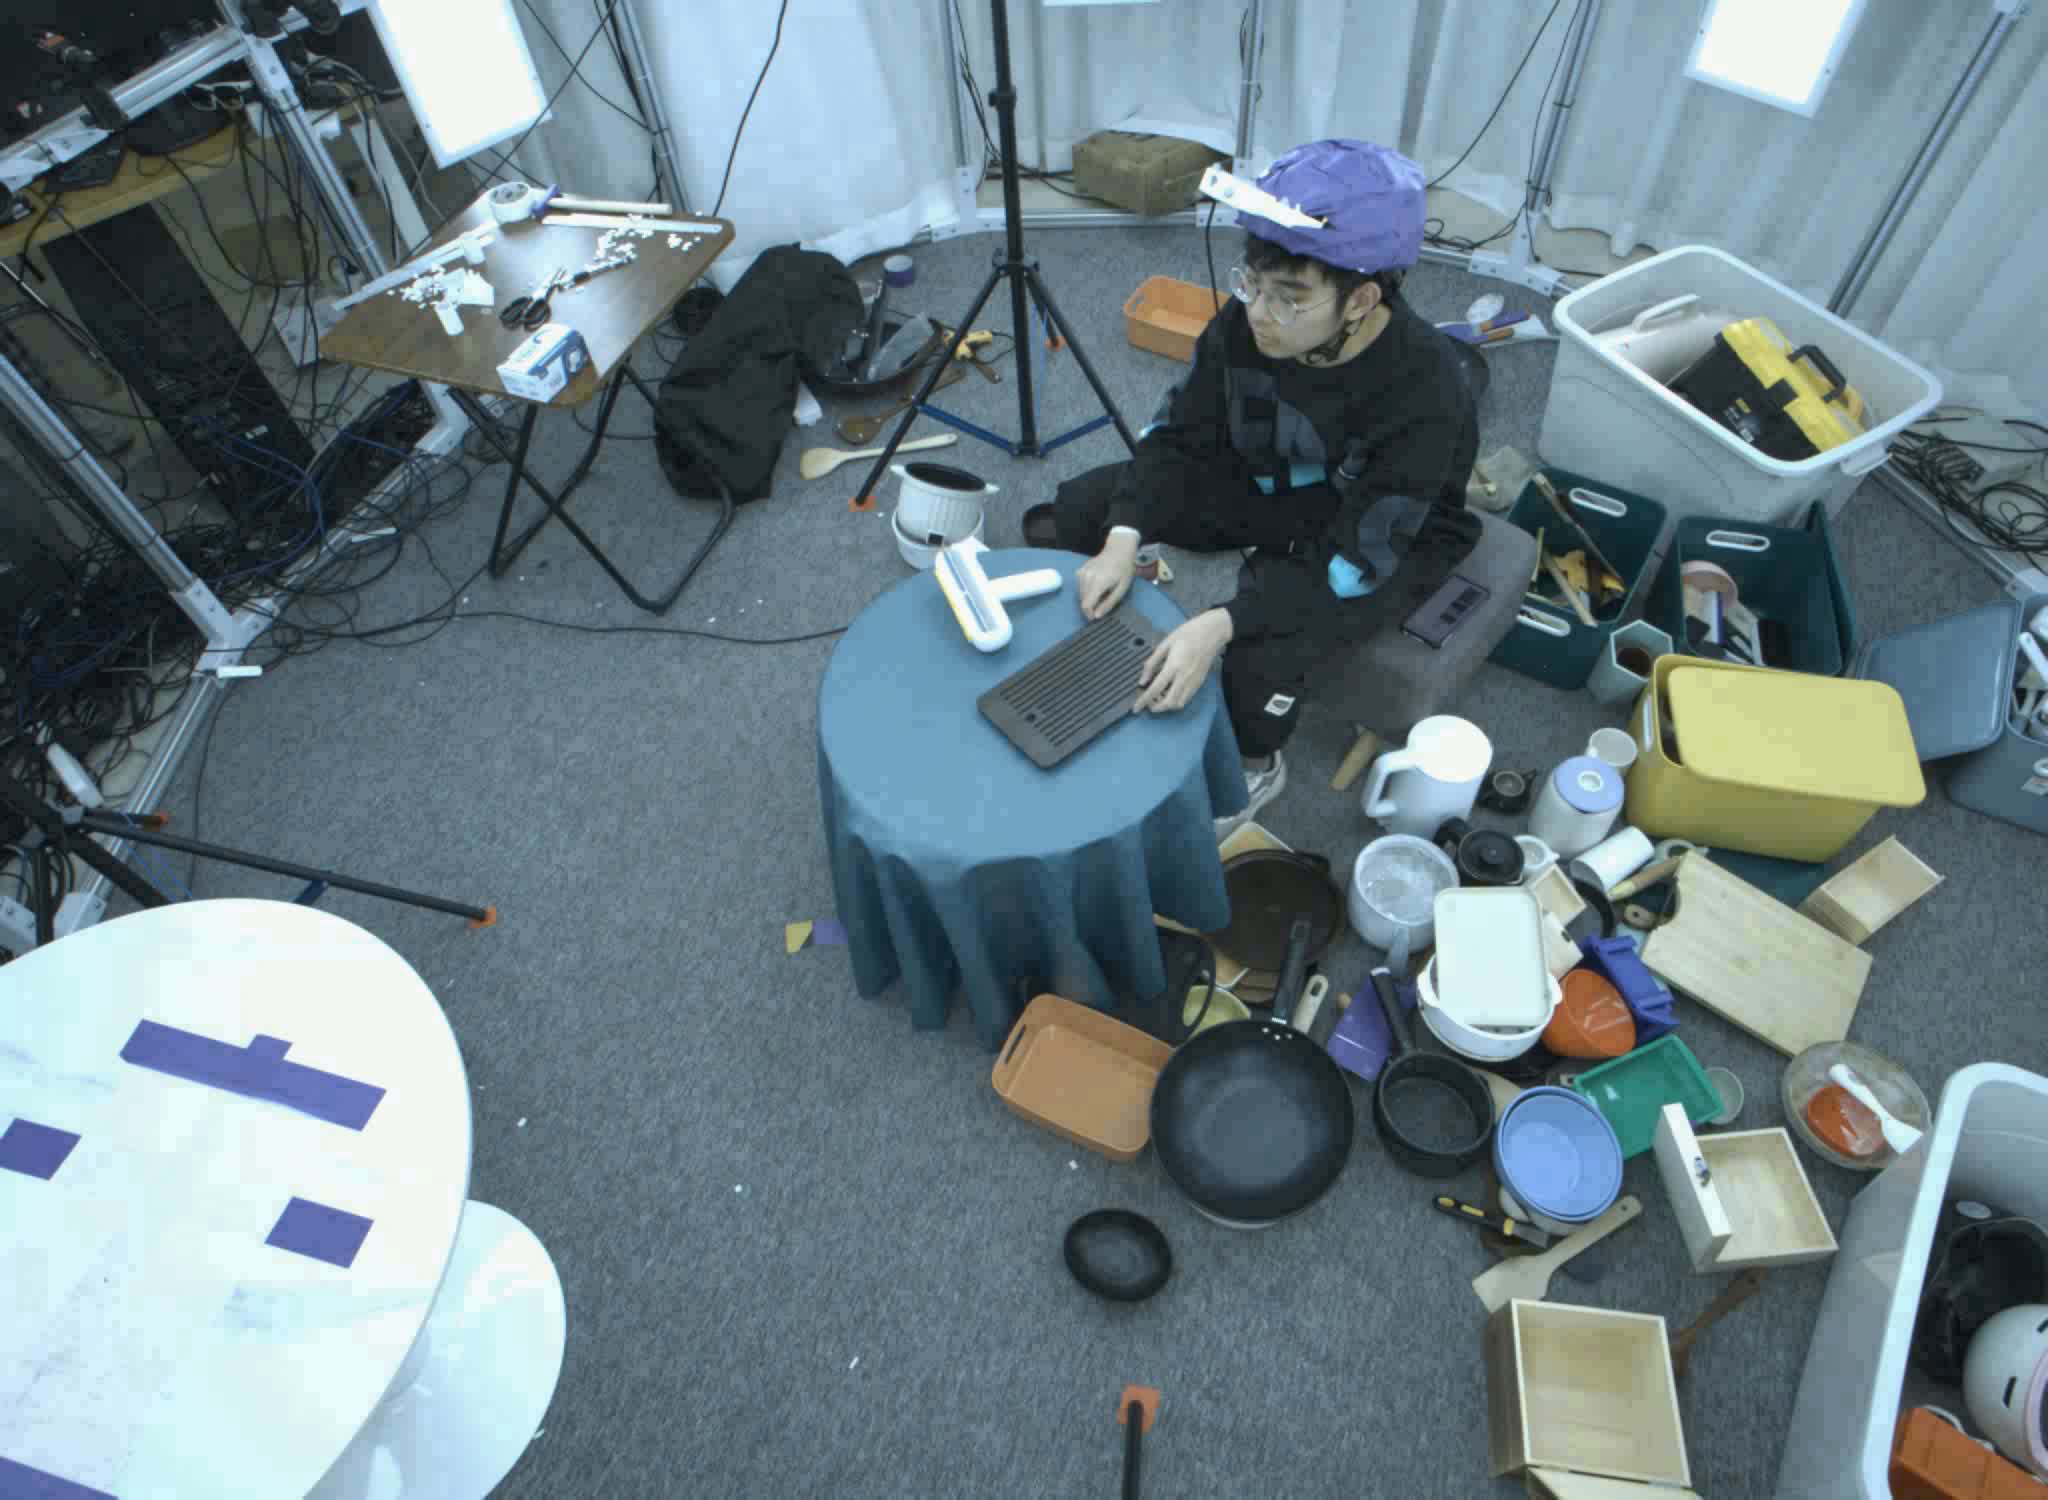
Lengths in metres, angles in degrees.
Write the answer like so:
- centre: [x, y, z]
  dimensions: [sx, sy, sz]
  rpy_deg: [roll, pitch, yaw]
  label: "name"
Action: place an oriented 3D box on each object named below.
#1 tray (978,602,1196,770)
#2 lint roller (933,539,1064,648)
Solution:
- centre: [0.096, -0.099, 1.839]
  dimensions: [0.308, 0.019, 0.167]
  rpy_deg: [-35, 60, -21]
  label: "tray"
- centre: [-0.029, -0.257, 1.925]
  dimensions: [0.194, 0.075, 0.190]
  rpy_deg: [-18, 61, -12]
  label: "lint roller"
